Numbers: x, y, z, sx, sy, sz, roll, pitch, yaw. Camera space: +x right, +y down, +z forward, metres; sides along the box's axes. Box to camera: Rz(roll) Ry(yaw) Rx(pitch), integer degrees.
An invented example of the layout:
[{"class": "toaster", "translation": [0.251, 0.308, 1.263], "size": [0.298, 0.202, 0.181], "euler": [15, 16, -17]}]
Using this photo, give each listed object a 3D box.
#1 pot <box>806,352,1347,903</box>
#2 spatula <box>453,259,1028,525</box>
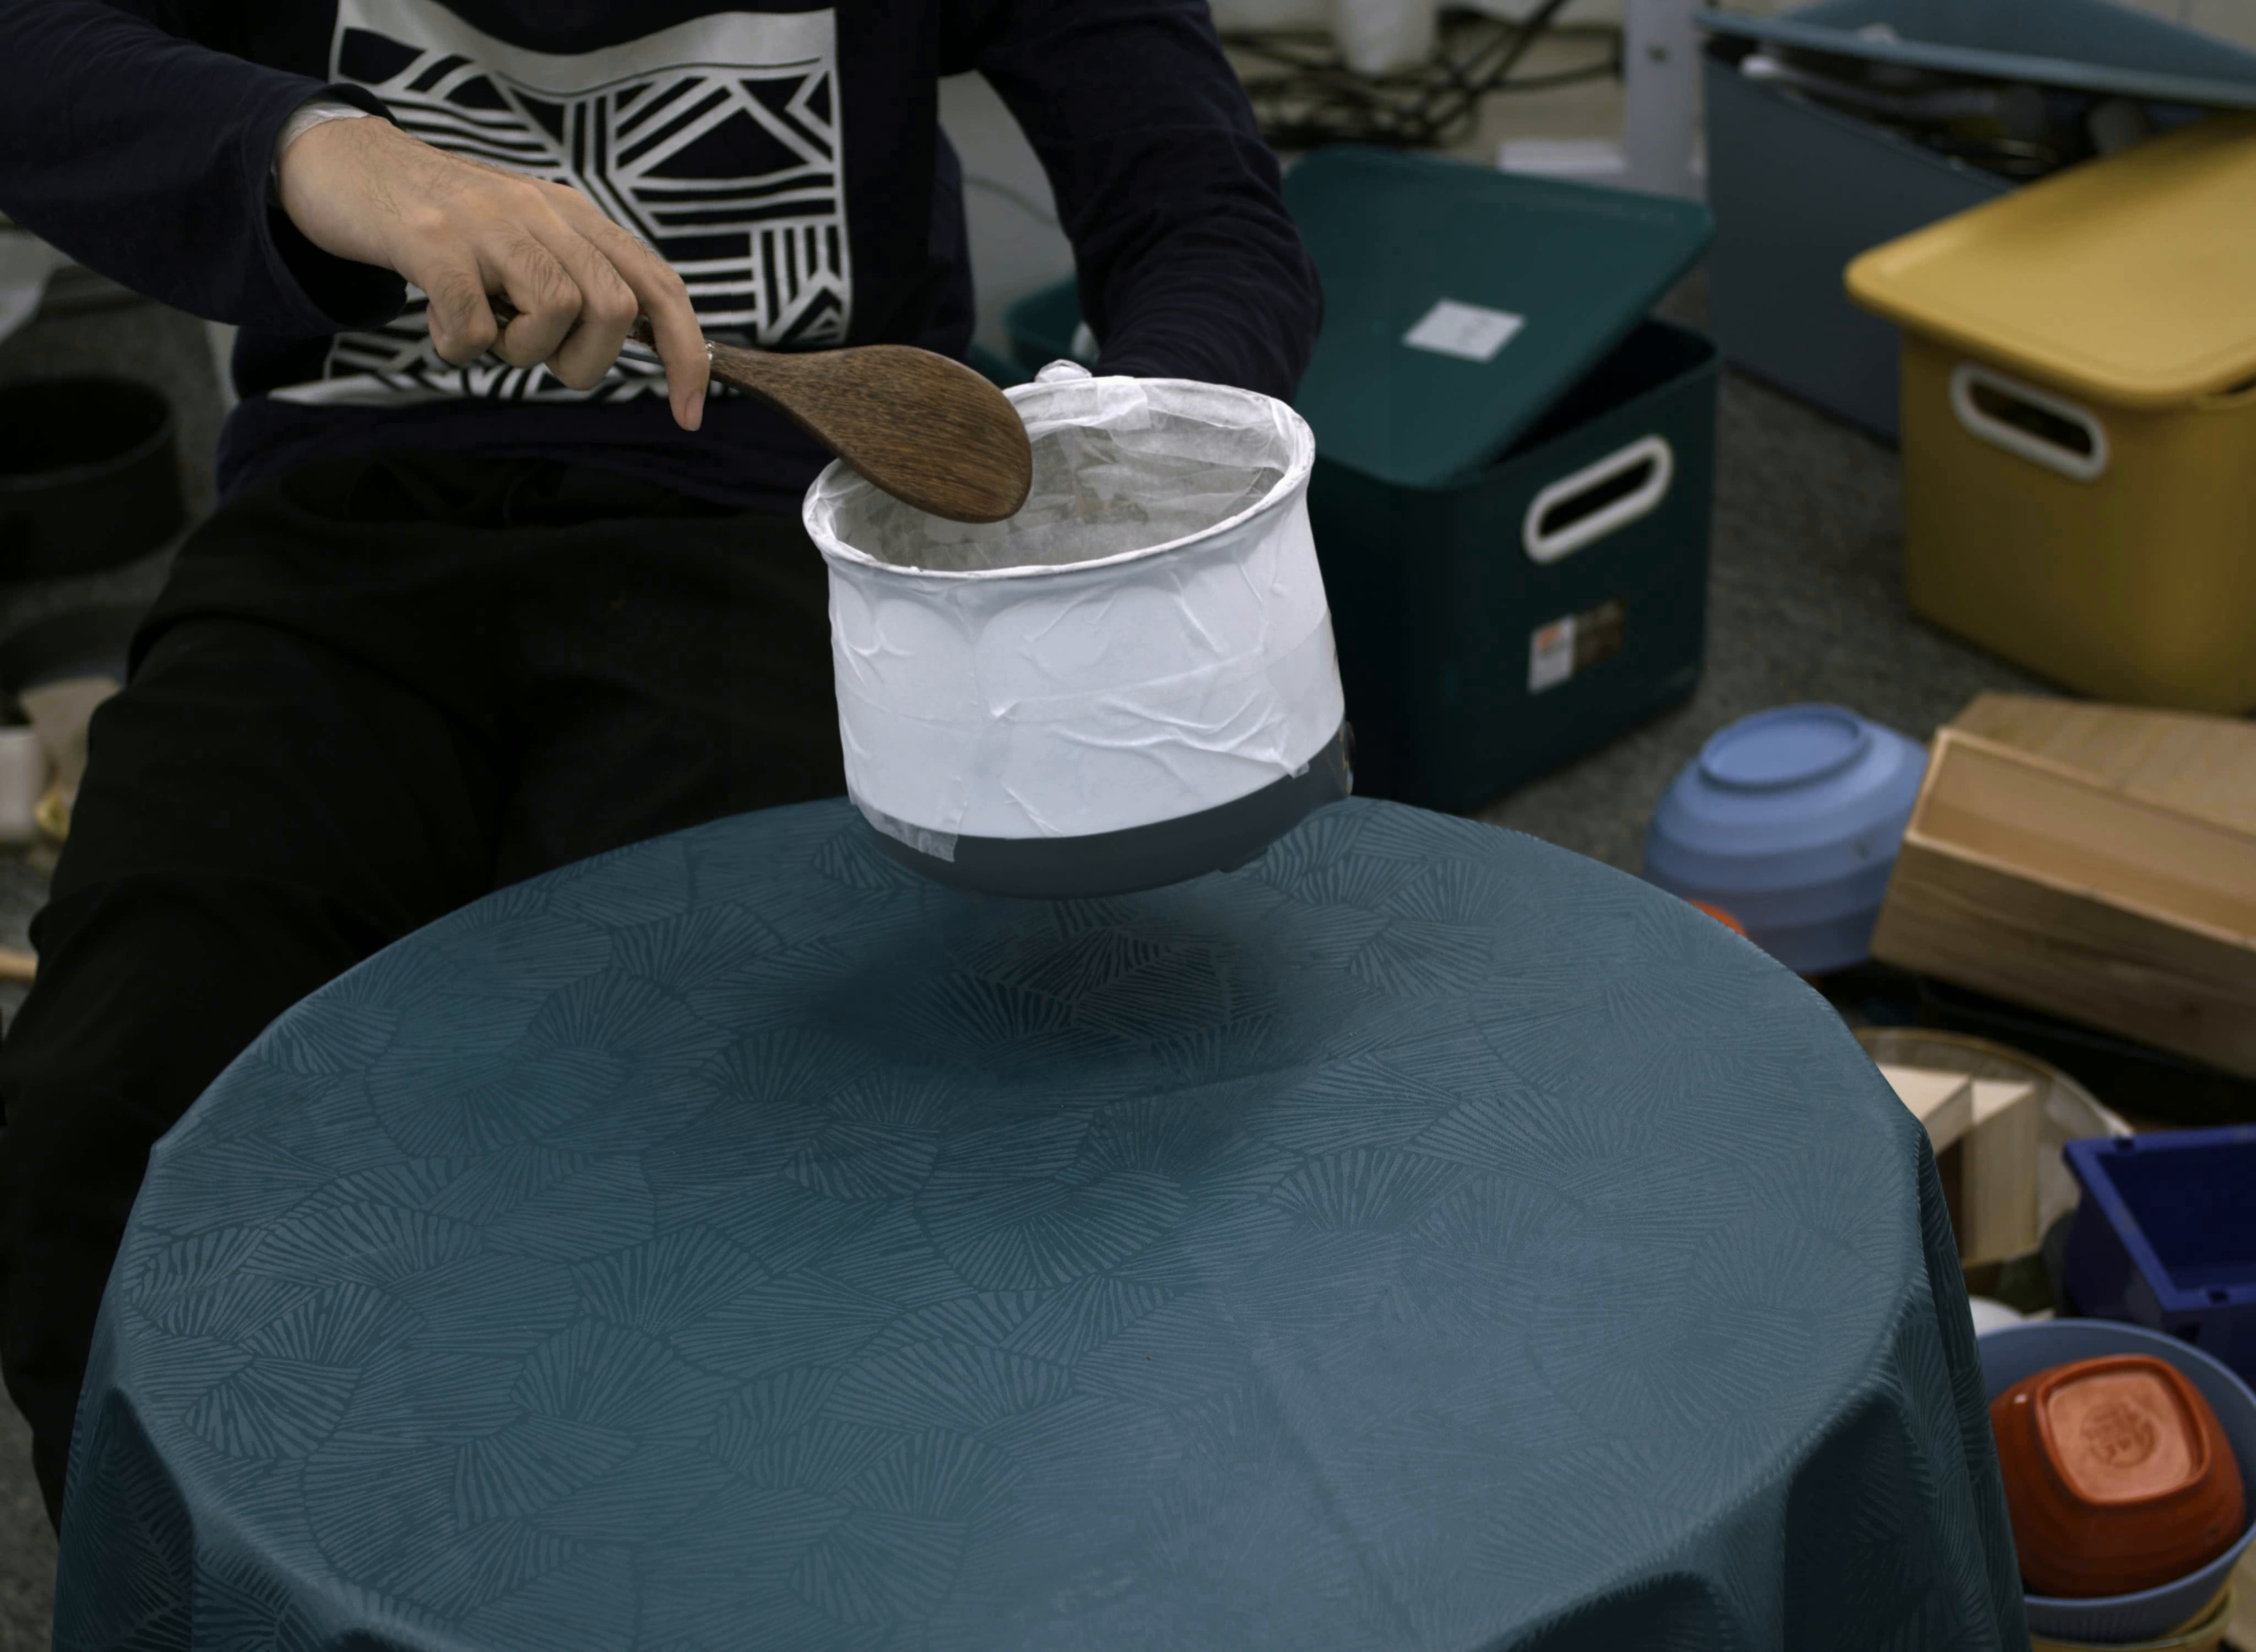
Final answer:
[{"class": "pot", "translation": [-0.017, -0.075, 1.965], "size": [0.178, 0.135, 0.237], "euler": [-5, 25, 0]}, {"class": "spatula", "translation": [-0.131, -0.156, 1.940], "size": [0.215, 0.009, 0.073], "euler": [18, 45, -17]}]
